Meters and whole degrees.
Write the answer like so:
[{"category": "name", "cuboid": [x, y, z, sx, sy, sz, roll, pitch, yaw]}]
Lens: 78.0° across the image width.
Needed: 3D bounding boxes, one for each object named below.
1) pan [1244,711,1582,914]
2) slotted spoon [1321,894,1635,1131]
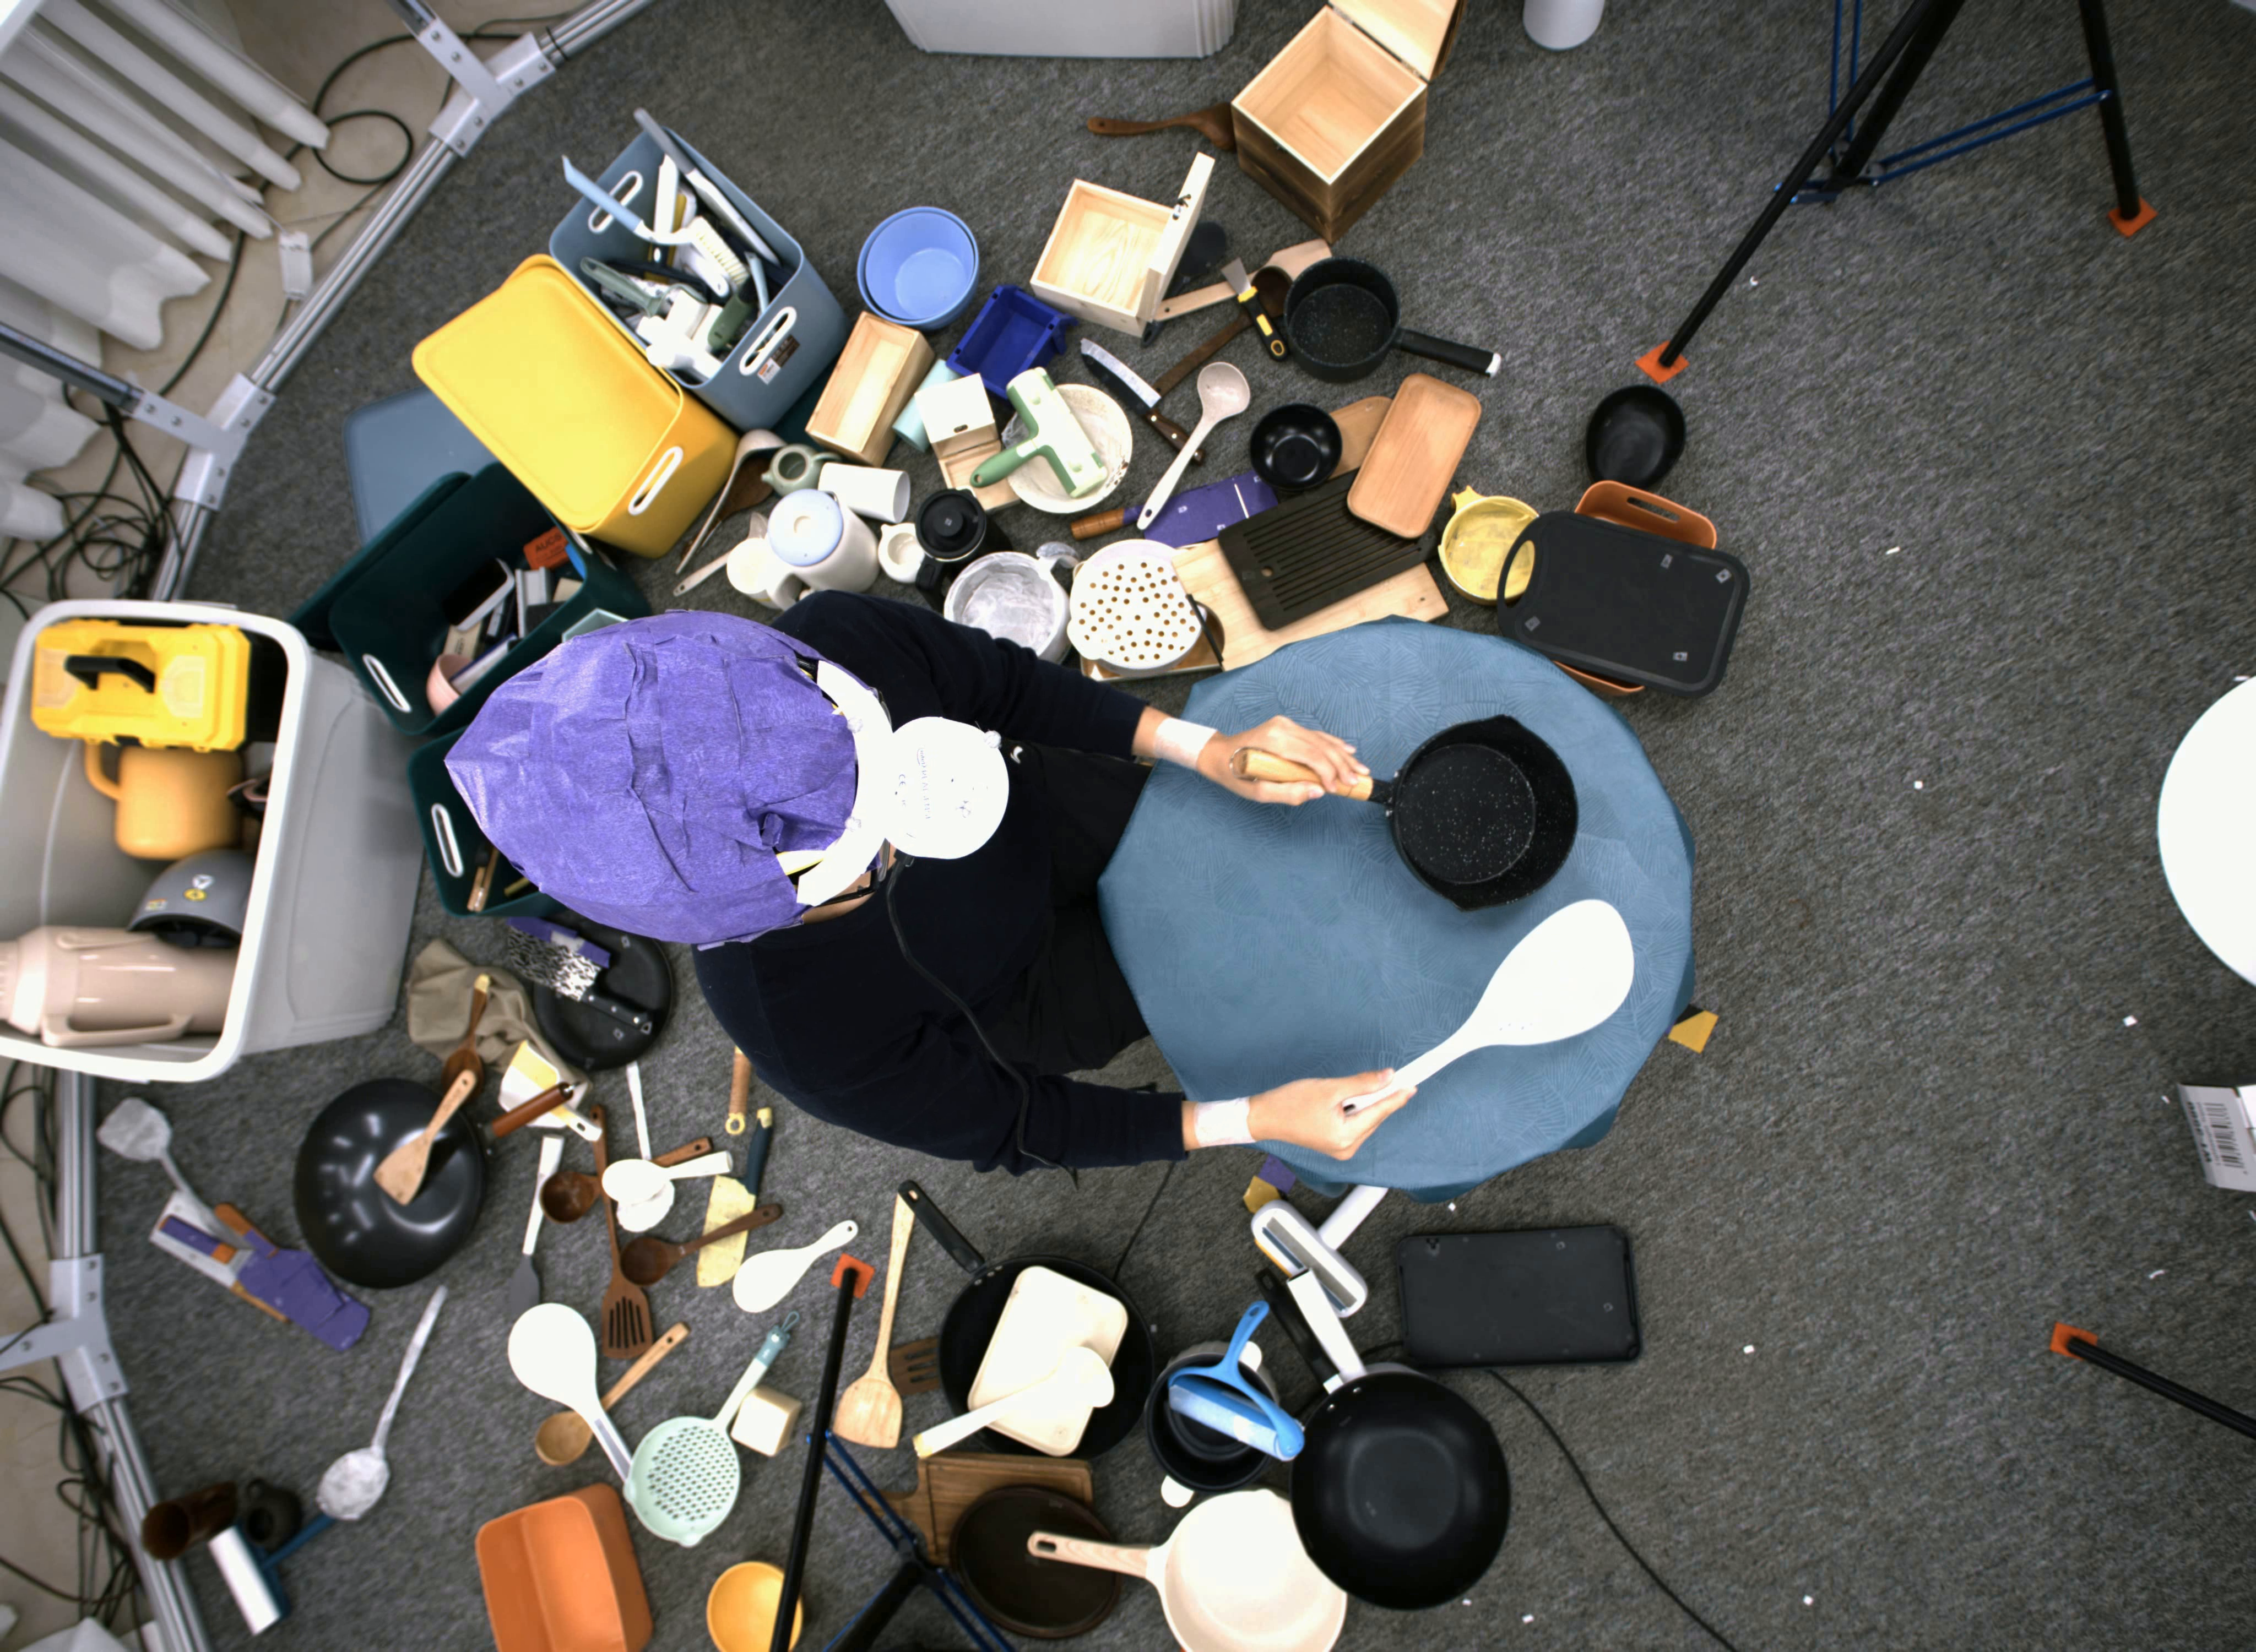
[{"category": "pan", "cuboid": [0.277, -0.029, 1.378, 0.343, 0.108, 0.208, 11, 94, -3]}, {"category": "slotted spoon", "cuboid": [0.330, 0.184, 1.308, 0.346, 0.050, 0.139, -36, 120, -6]}]
